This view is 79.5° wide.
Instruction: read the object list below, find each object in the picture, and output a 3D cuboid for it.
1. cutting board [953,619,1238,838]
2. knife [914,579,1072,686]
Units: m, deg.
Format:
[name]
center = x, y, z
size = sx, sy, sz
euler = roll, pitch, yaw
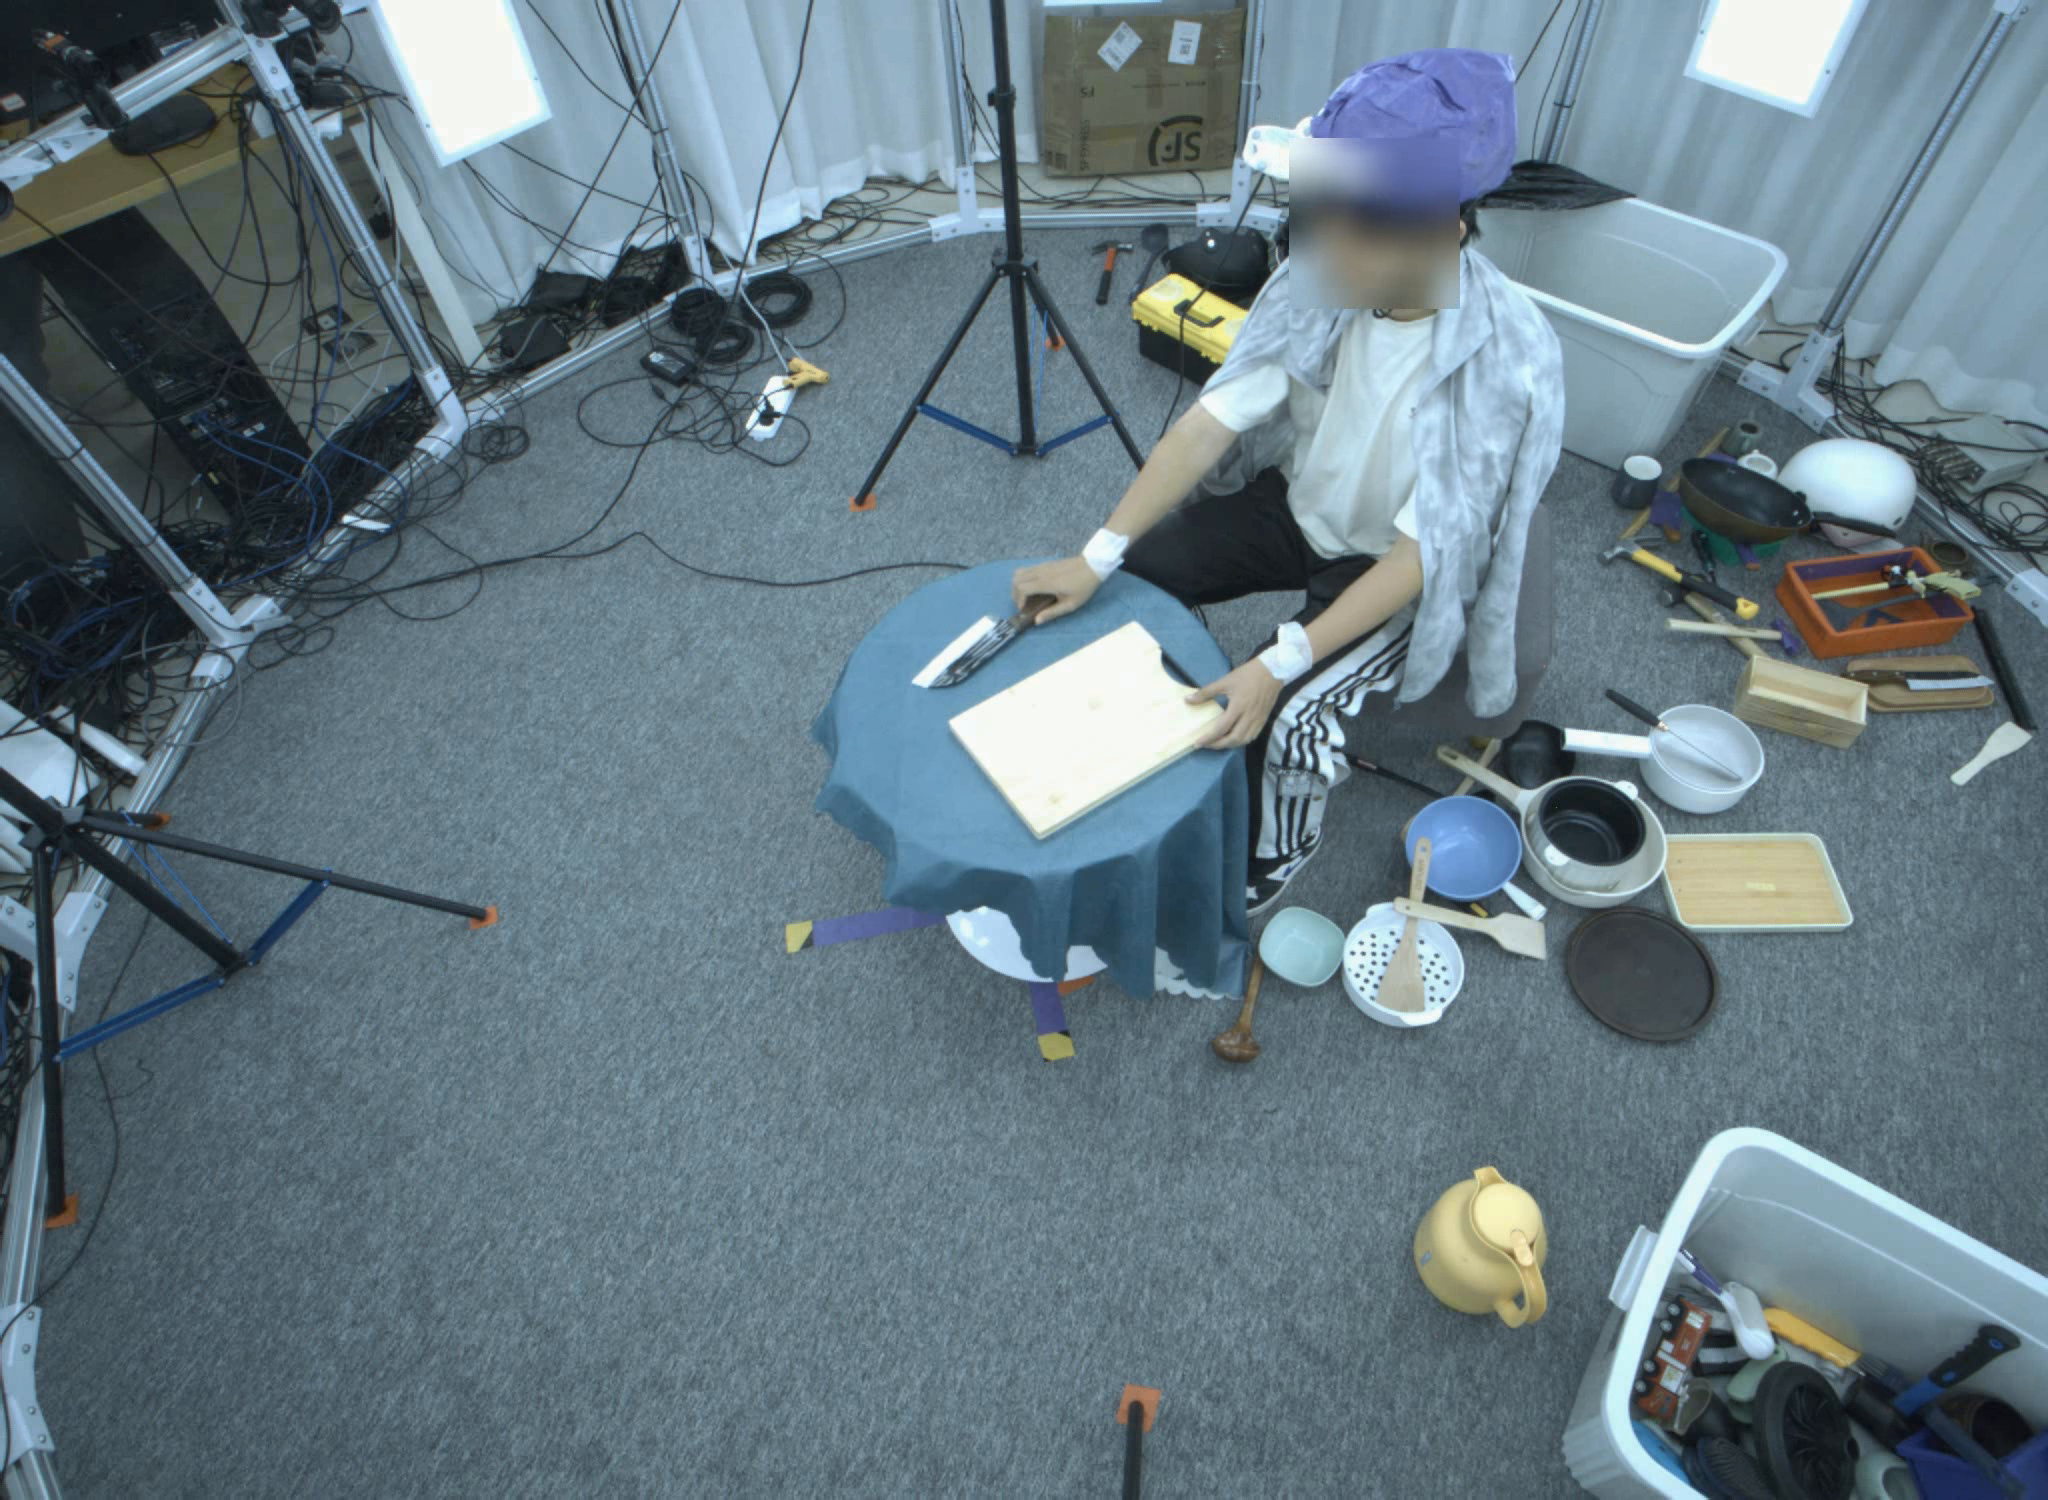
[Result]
[cutting board]
center = 0.101, -0.040, 1.805
size = 0.351, 0.024, 0.246
euler = -30, 60, -18
[knife]
center = -0.047, -0.185, 1.910
size = 0.301, 0.024, 0.067
euler = -41, 60, -21
